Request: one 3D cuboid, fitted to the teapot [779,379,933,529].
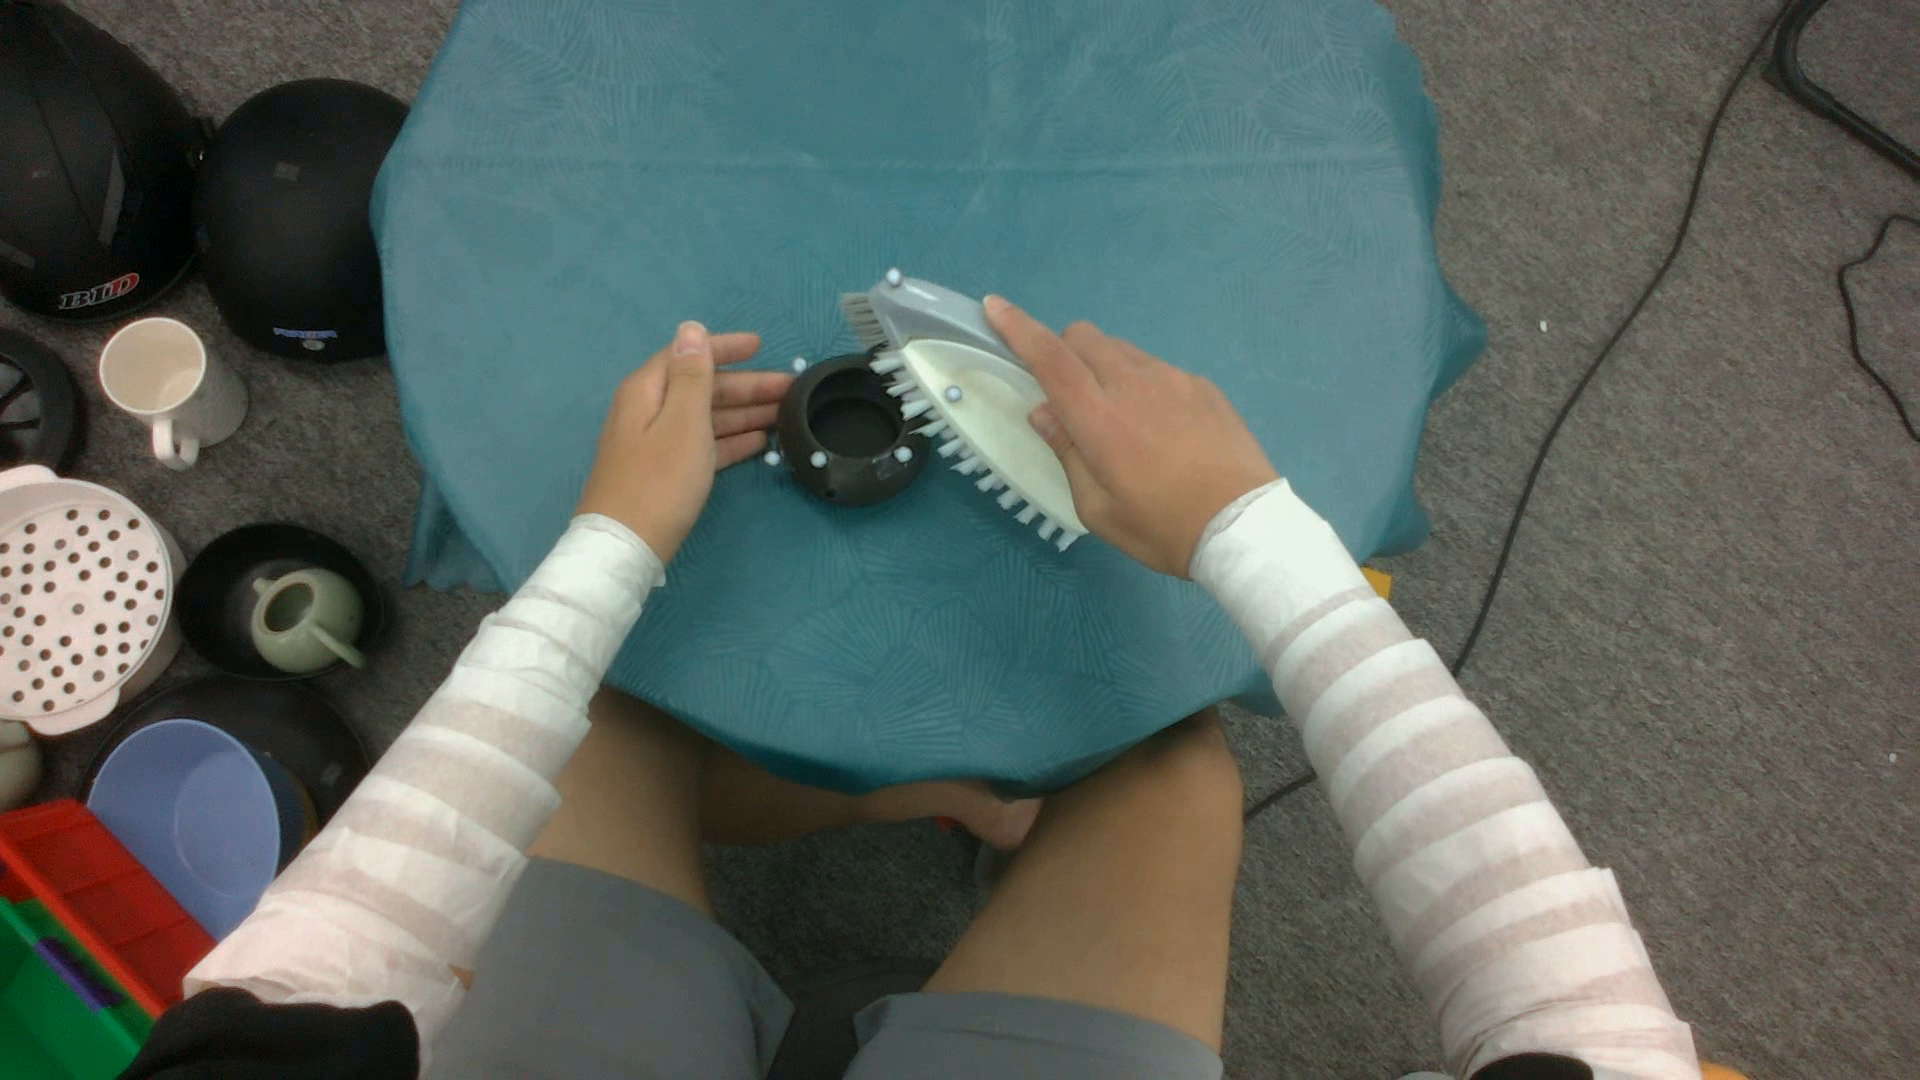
[{"bbox_3d":[-0.052,-0.058,0.741,0.083,0.053,0.114,17,75,-2],"label":"teapot"}]

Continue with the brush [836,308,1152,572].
[{"bbox_3d":[0.021,-0.063,0.697,0.175,0.094,0.062,38,58,-10],"label":"brush"}]
